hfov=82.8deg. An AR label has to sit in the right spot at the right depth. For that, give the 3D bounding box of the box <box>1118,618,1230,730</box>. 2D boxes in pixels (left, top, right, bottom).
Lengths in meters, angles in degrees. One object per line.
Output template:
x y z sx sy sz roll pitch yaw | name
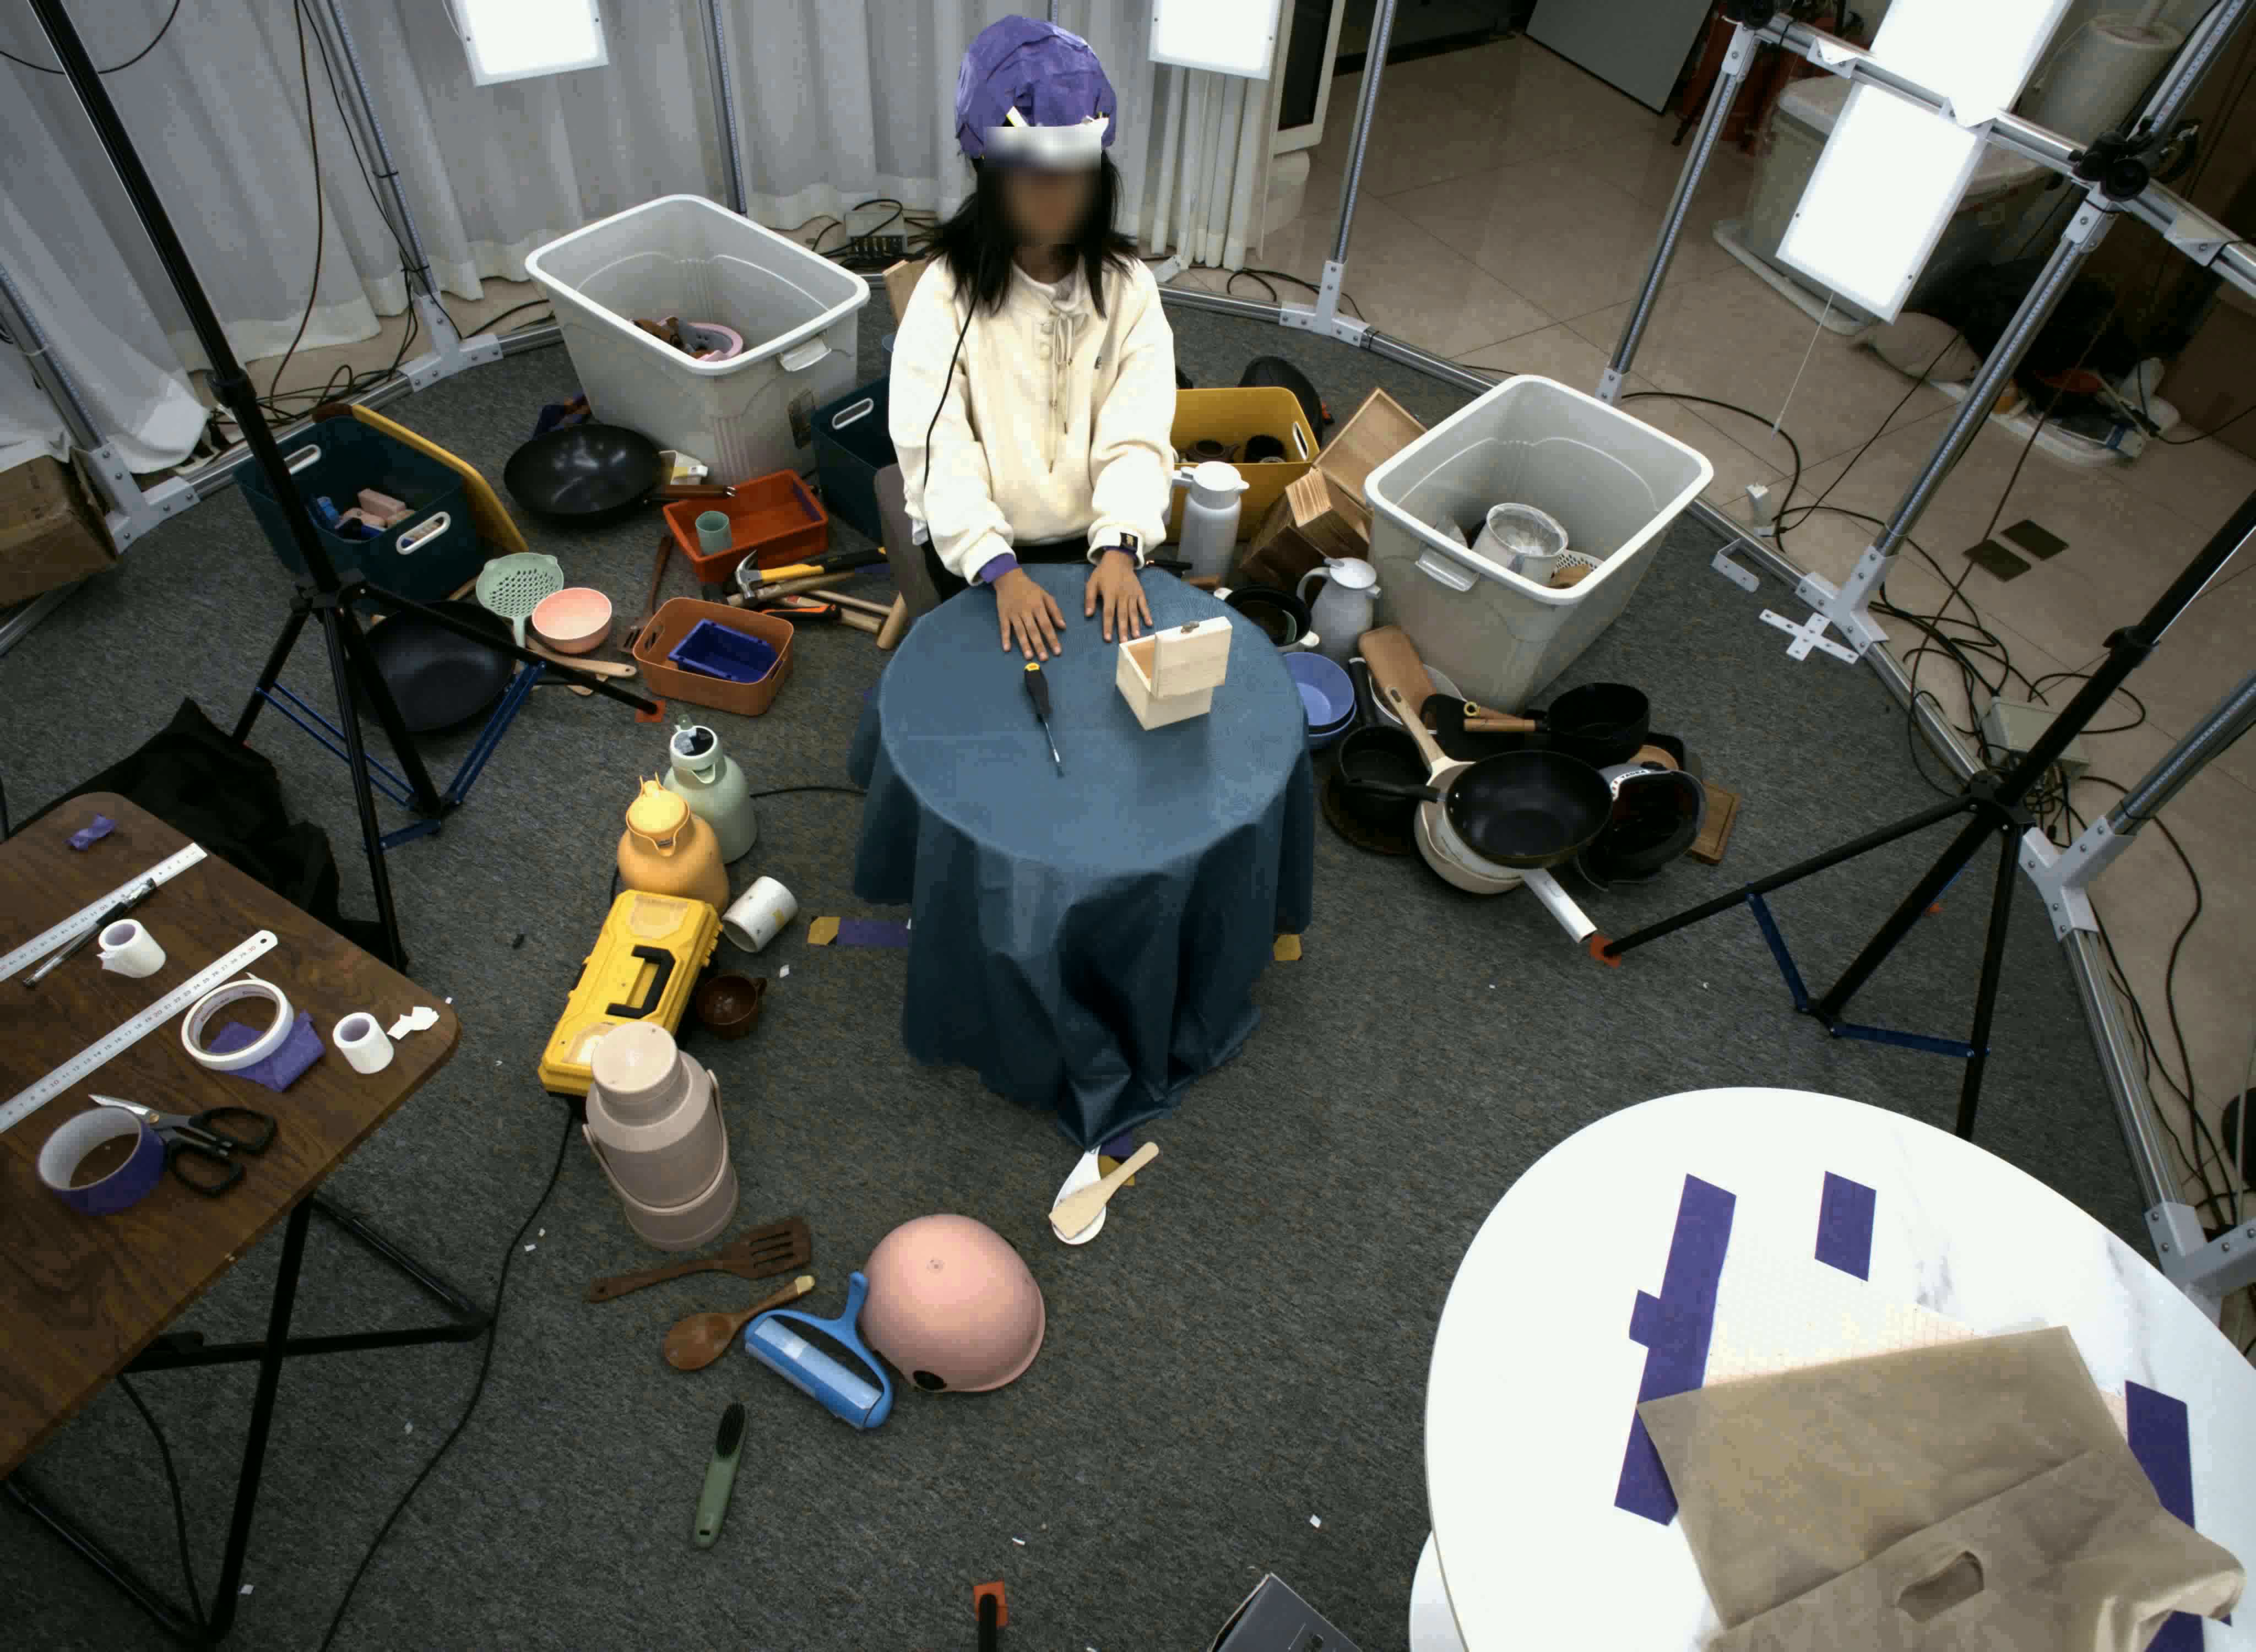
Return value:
0.058 -0.234 1.758 0.103 0.180 0.137 -17 54 -17 | box

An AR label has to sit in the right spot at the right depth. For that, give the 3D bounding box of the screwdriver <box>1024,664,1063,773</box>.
-0.117 -0.149 1.777 0.031 0.031 0.203 -6 52 -10 | screwdriver
